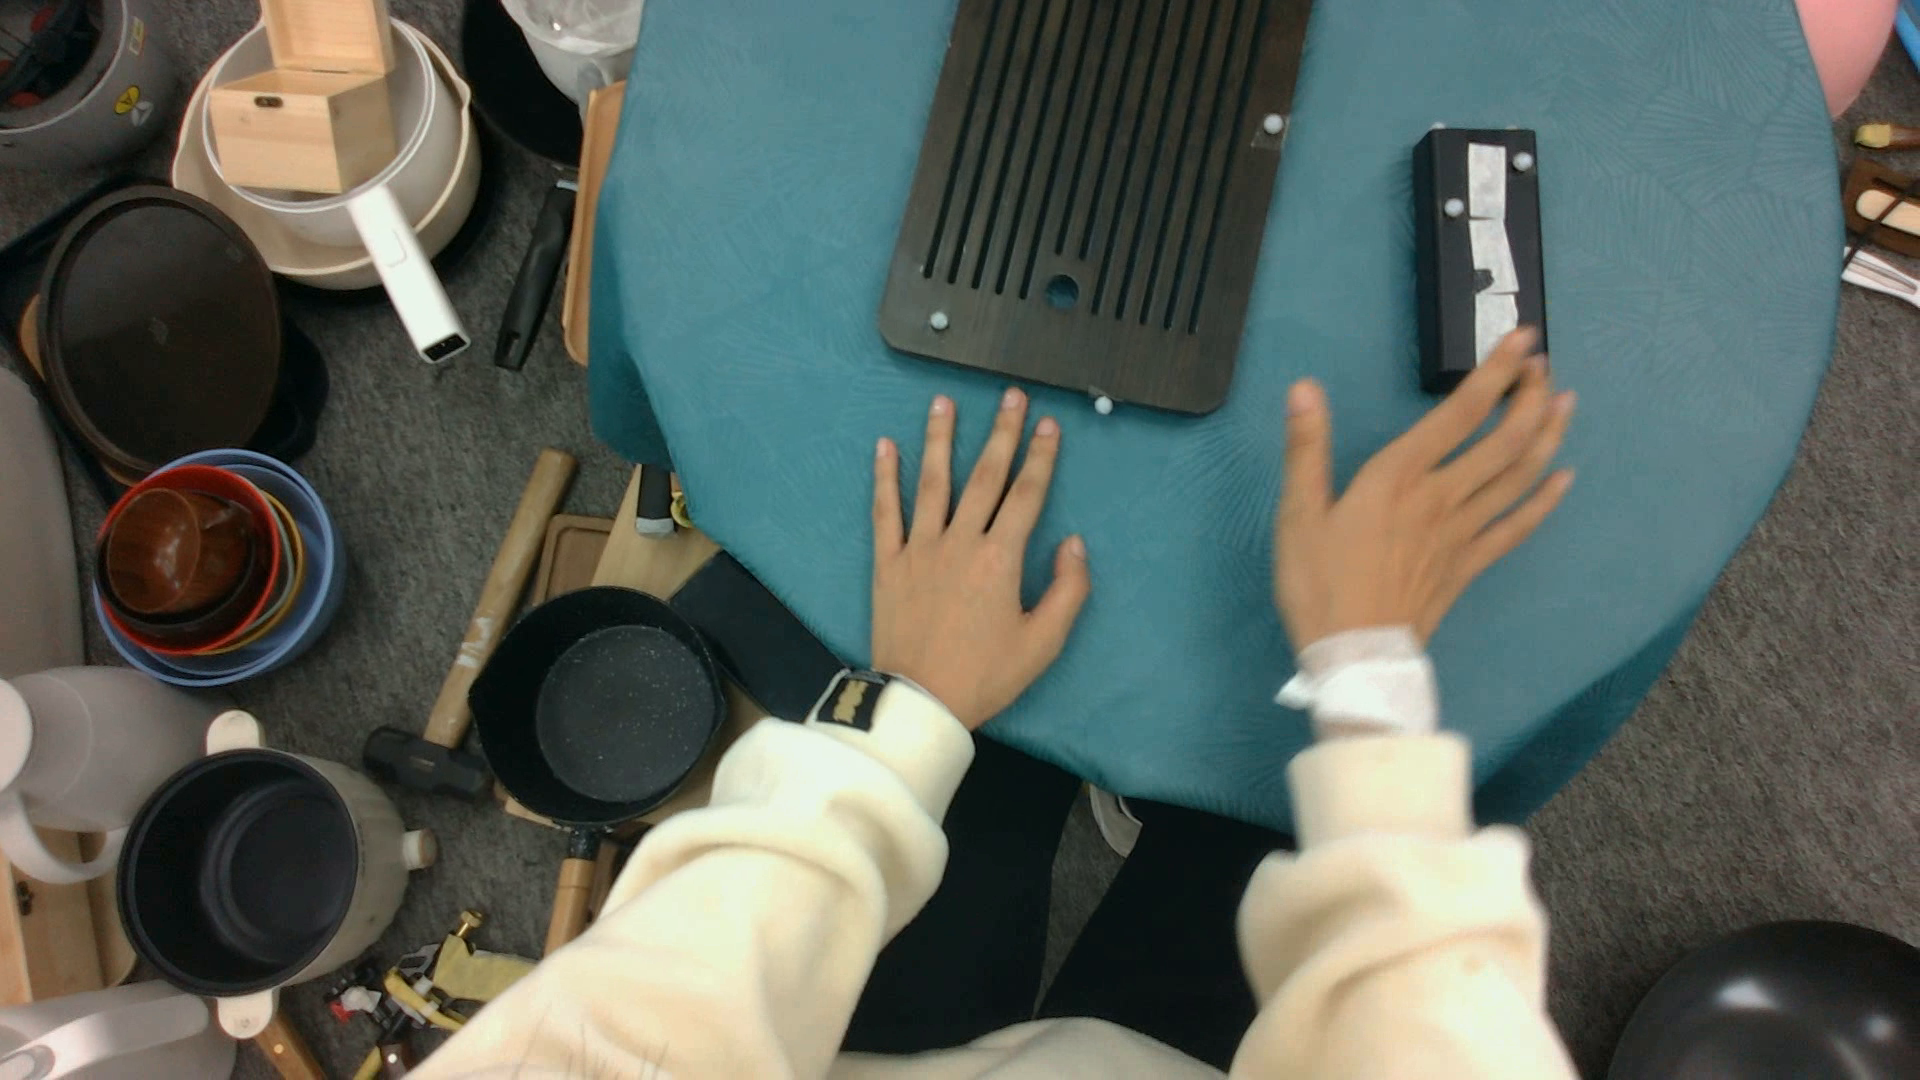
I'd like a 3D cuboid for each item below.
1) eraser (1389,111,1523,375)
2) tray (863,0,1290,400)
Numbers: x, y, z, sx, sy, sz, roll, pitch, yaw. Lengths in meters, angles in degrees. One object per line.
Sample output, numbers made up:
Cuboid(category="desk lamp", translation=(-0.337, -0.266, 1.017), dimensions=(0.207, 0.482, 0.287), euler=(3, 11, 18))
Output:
Cuboid(category="eraser", translation=(0.233, -0.140, 0.653), dimensions=(0.053, 0.030, 0.126), euler=(0, 79, 4))
Cuboid(category="tray", translation=(0.067, -0.225, 0.676), dimensions=(0.170, 0.018, 0.306), euler=(12, 78, 3))
